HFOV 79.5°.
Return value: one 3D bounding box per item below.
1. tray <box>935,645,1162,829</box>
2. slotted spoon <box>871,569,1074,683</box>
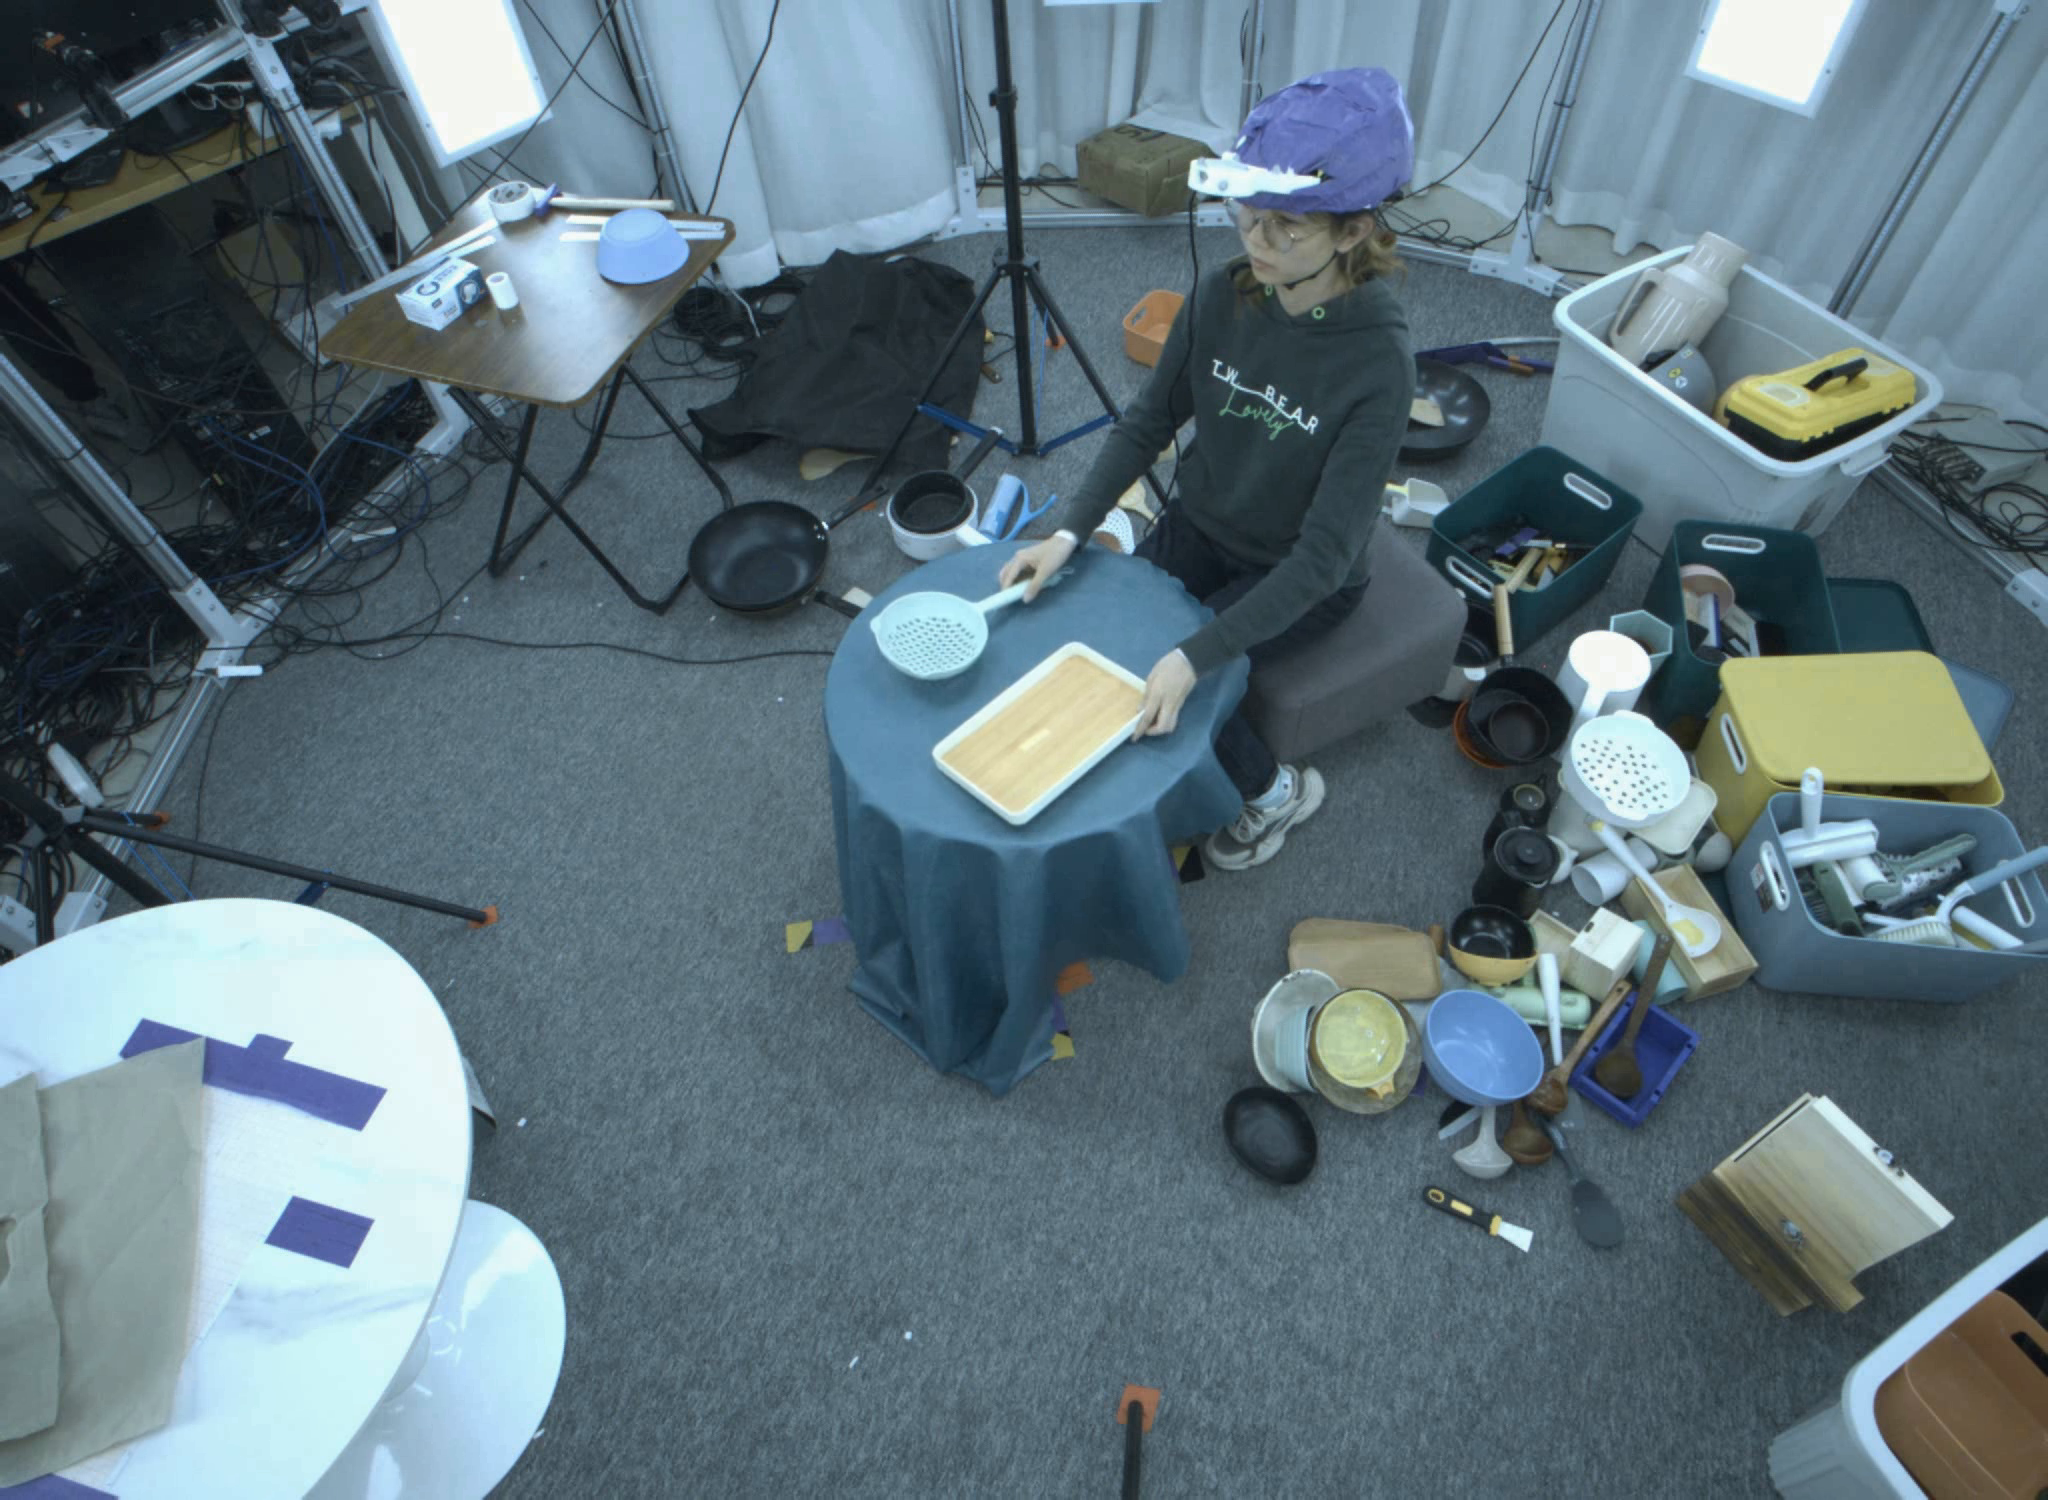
[{"bbox_3d":[0.037,-0.025,1.784,0.302,0.028,0.187,-39,54,-22],"label":"tray"},{"bbox_3d":[-0.064,-0.212,1.909,0.361,0.076,0.166,-34,64,-20],"label":"slotted spoon"}]
